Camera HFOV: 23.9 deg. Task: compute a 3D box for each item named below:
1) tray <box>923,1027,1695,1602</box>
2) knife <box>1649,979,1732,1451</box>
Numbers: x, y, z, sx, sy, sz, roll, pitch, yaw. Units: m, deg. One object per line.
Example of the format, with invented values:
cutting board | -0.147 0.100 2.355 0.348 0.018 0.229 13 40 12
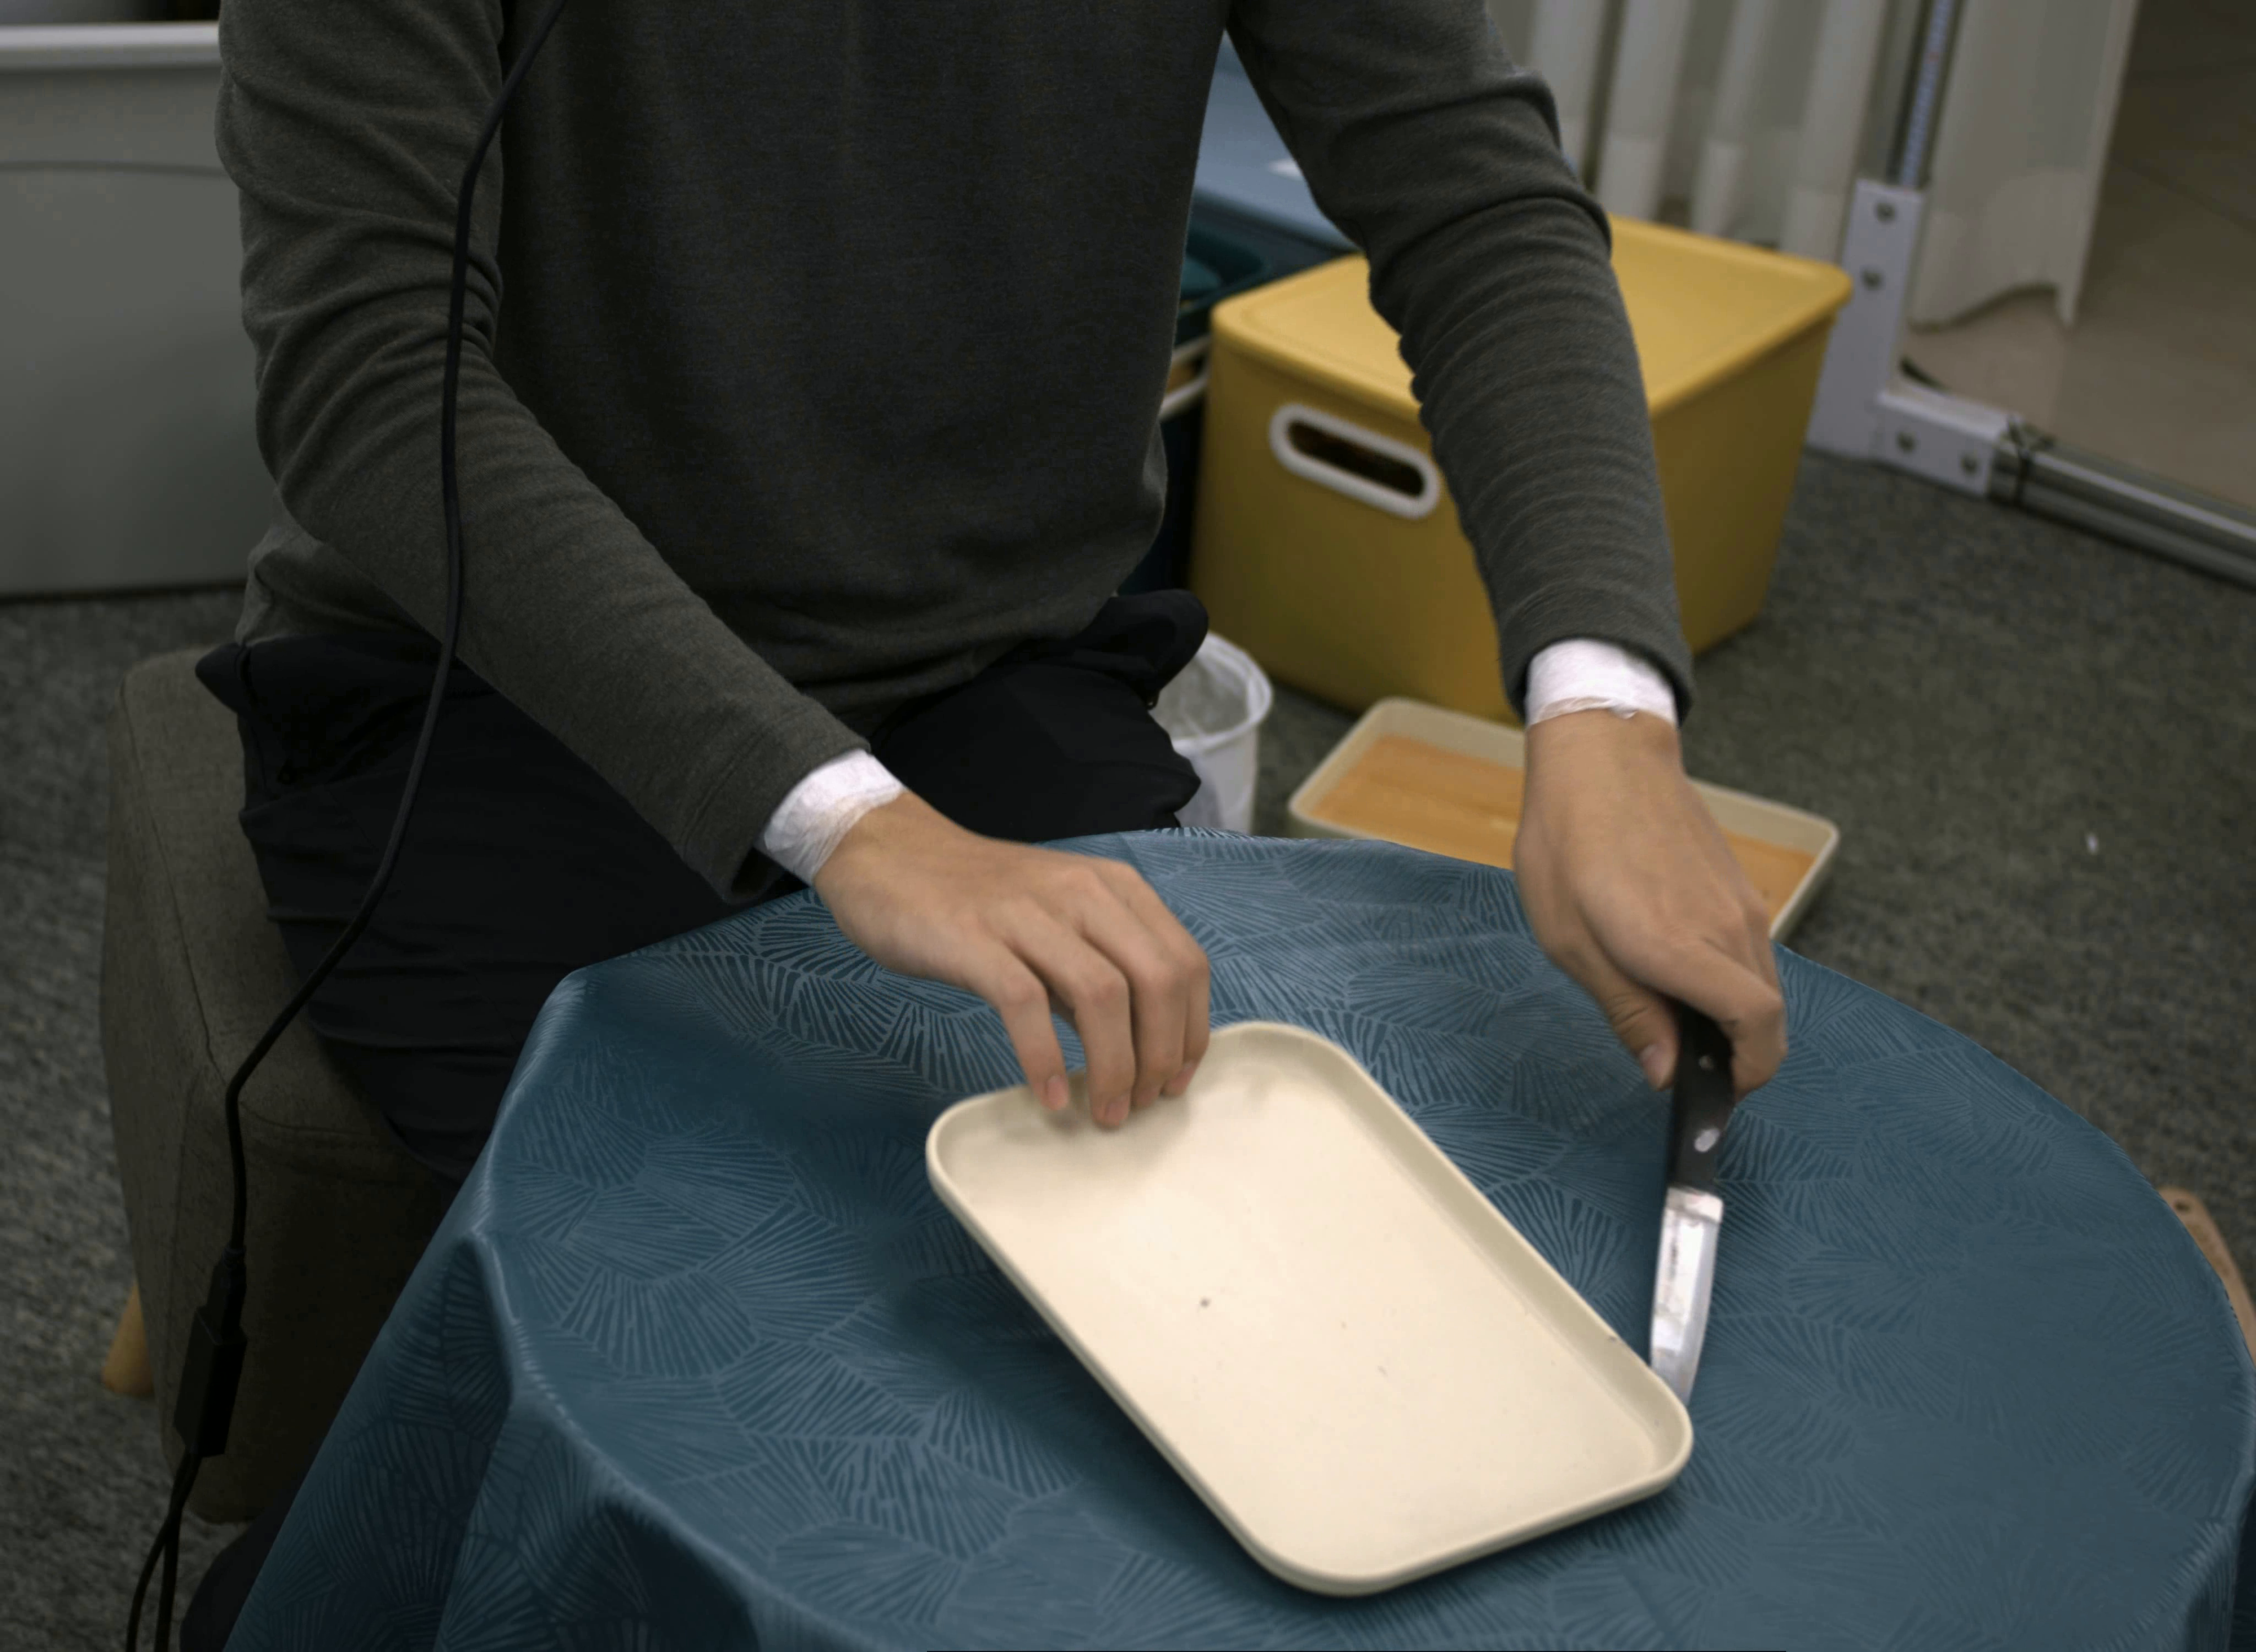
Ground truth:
tray | 0.055 0.154 1.701 0.170 0.017 0.242 -14 43 -32
knife | 0.187 0.127 1.789 0.024 0.016 0.239 24 37 -8
